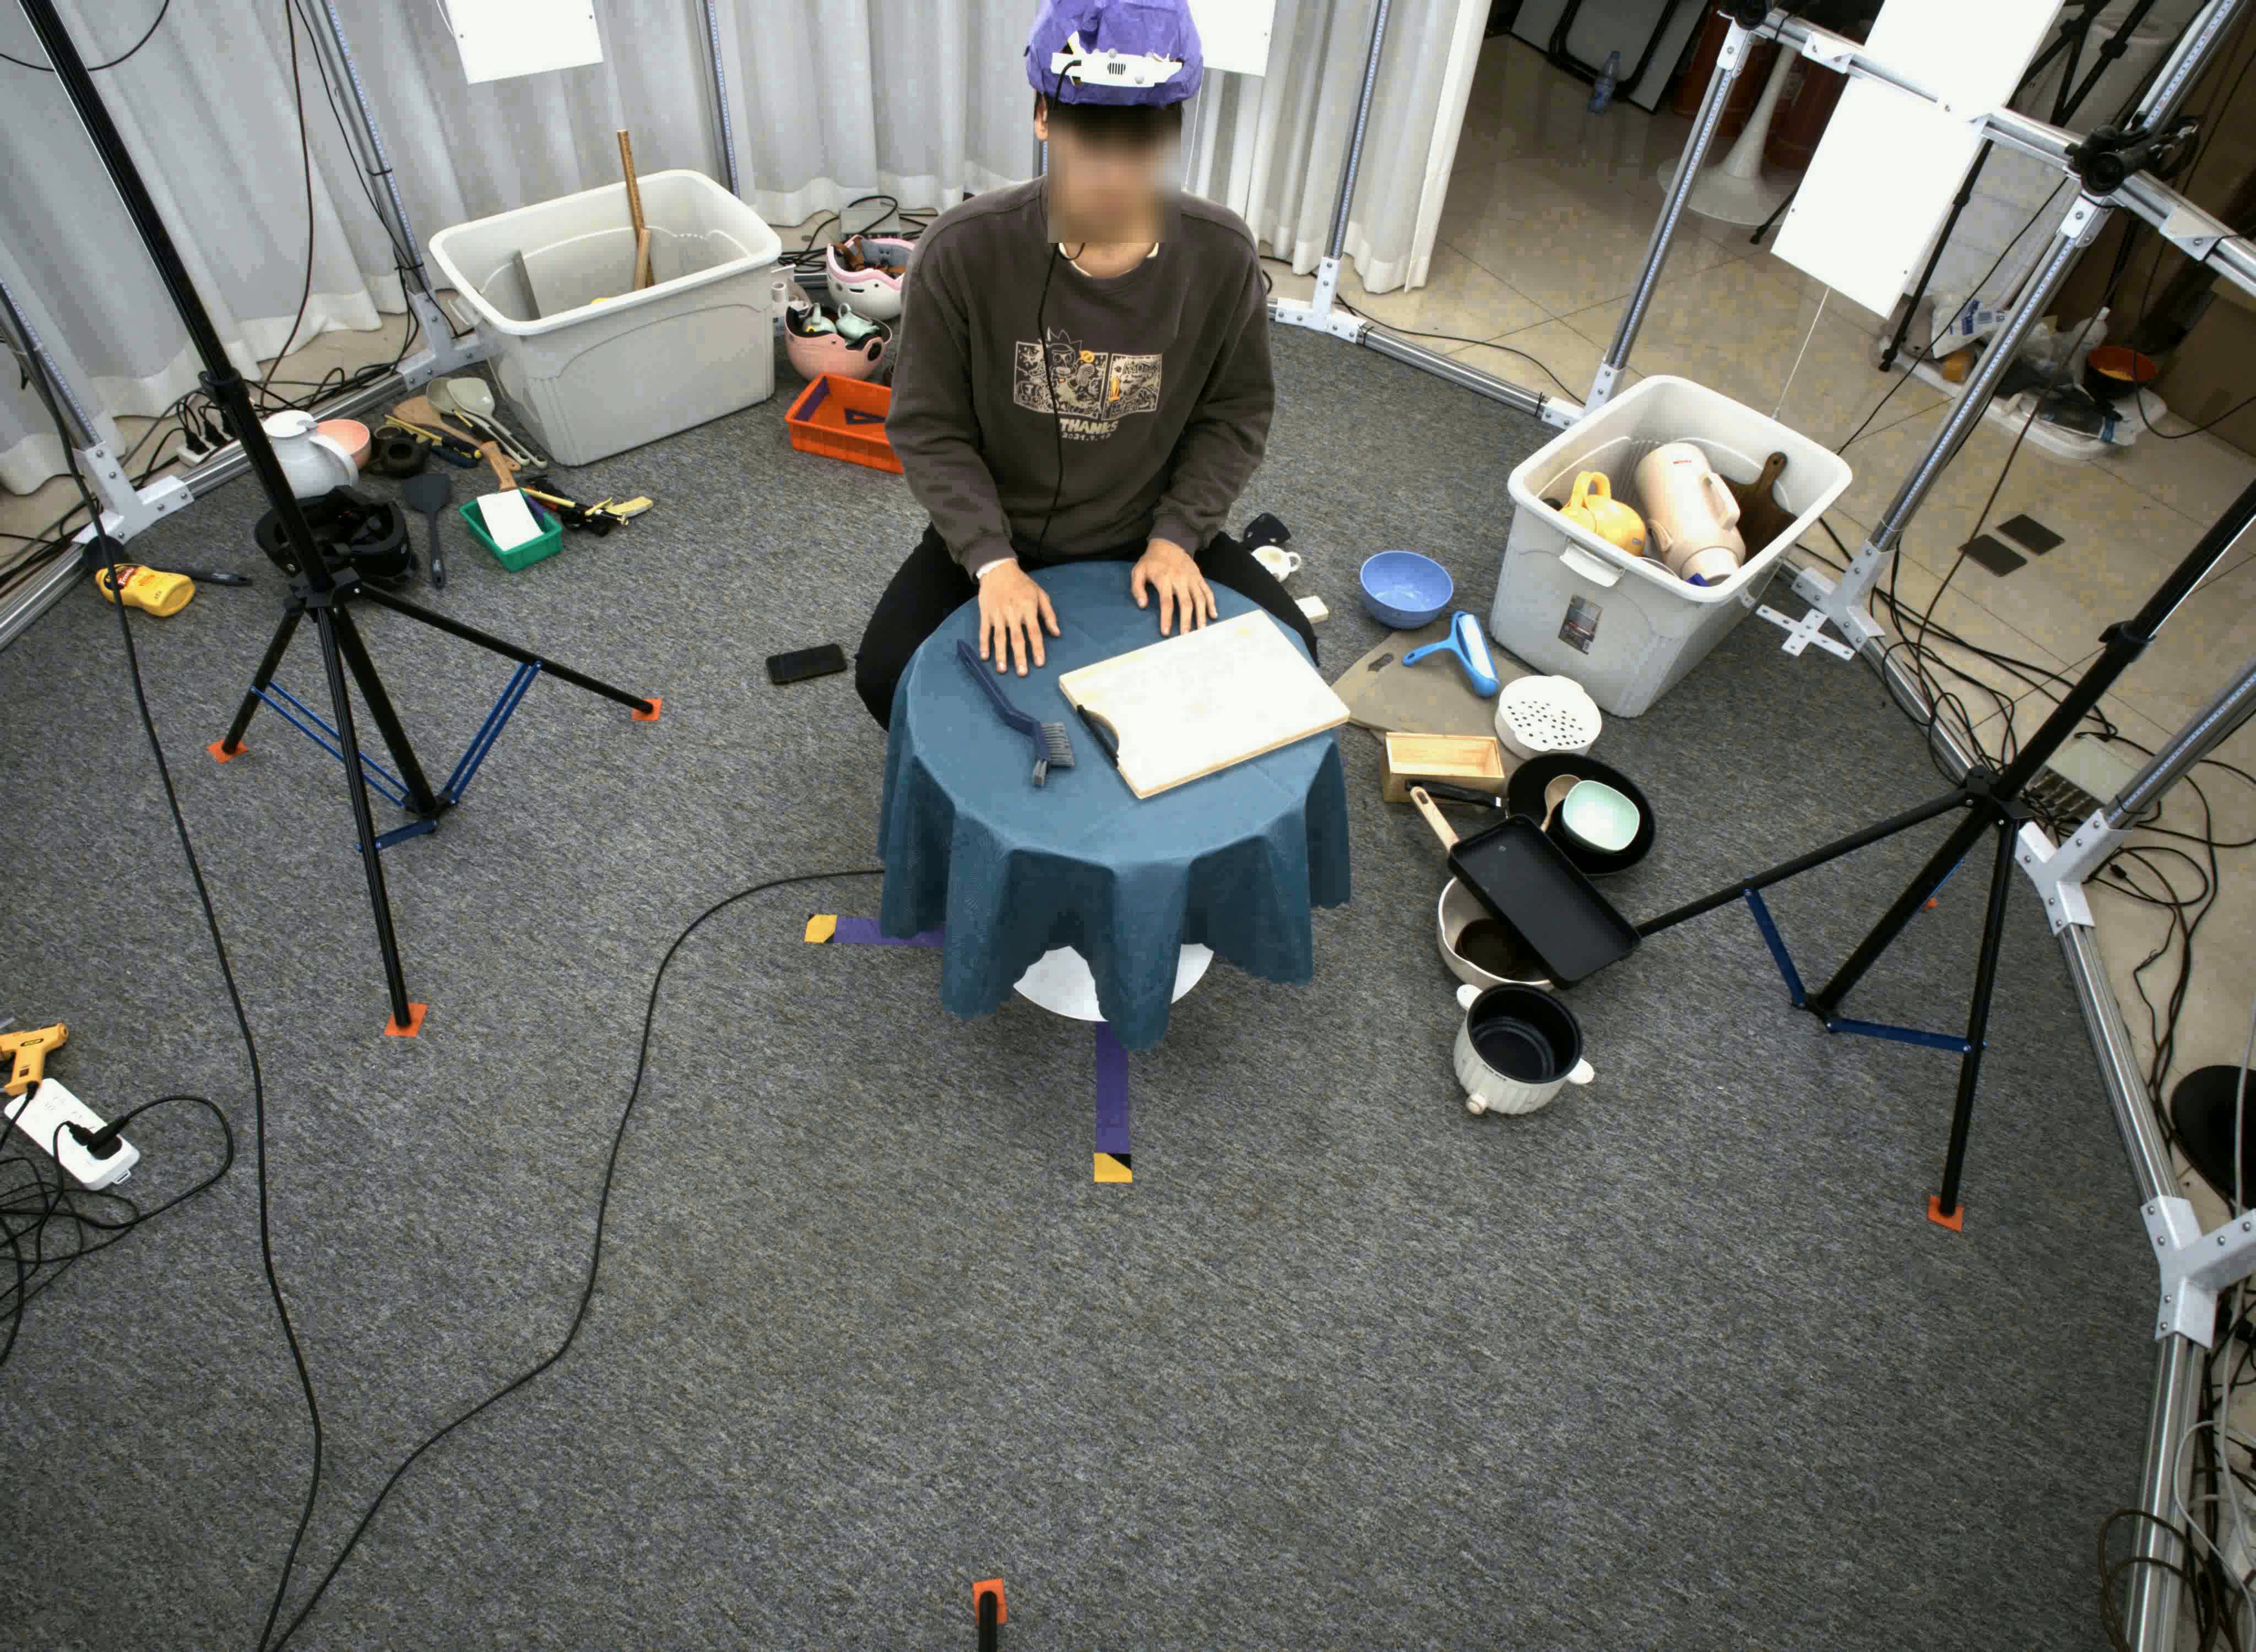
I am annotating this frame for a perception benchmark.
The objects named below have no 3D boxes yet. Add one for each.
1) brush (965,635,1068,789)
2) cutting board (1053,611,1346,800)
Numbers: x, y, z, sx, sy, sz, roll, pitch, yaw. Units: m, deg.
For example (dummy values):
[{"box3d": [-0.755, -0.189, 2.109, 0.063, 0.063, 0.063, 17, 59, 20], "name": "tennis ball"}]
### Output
[{"box3d": [-0.174, -0.163, 1.777, 0.096, 0.033, 0.278, -28, 57, -25], "name": "brush"}, {"box3d": [0.102, -0.178, 1.816, 0.349, 0.023, 0.256, -21, 53, -21], "name": "cutting board"}]
